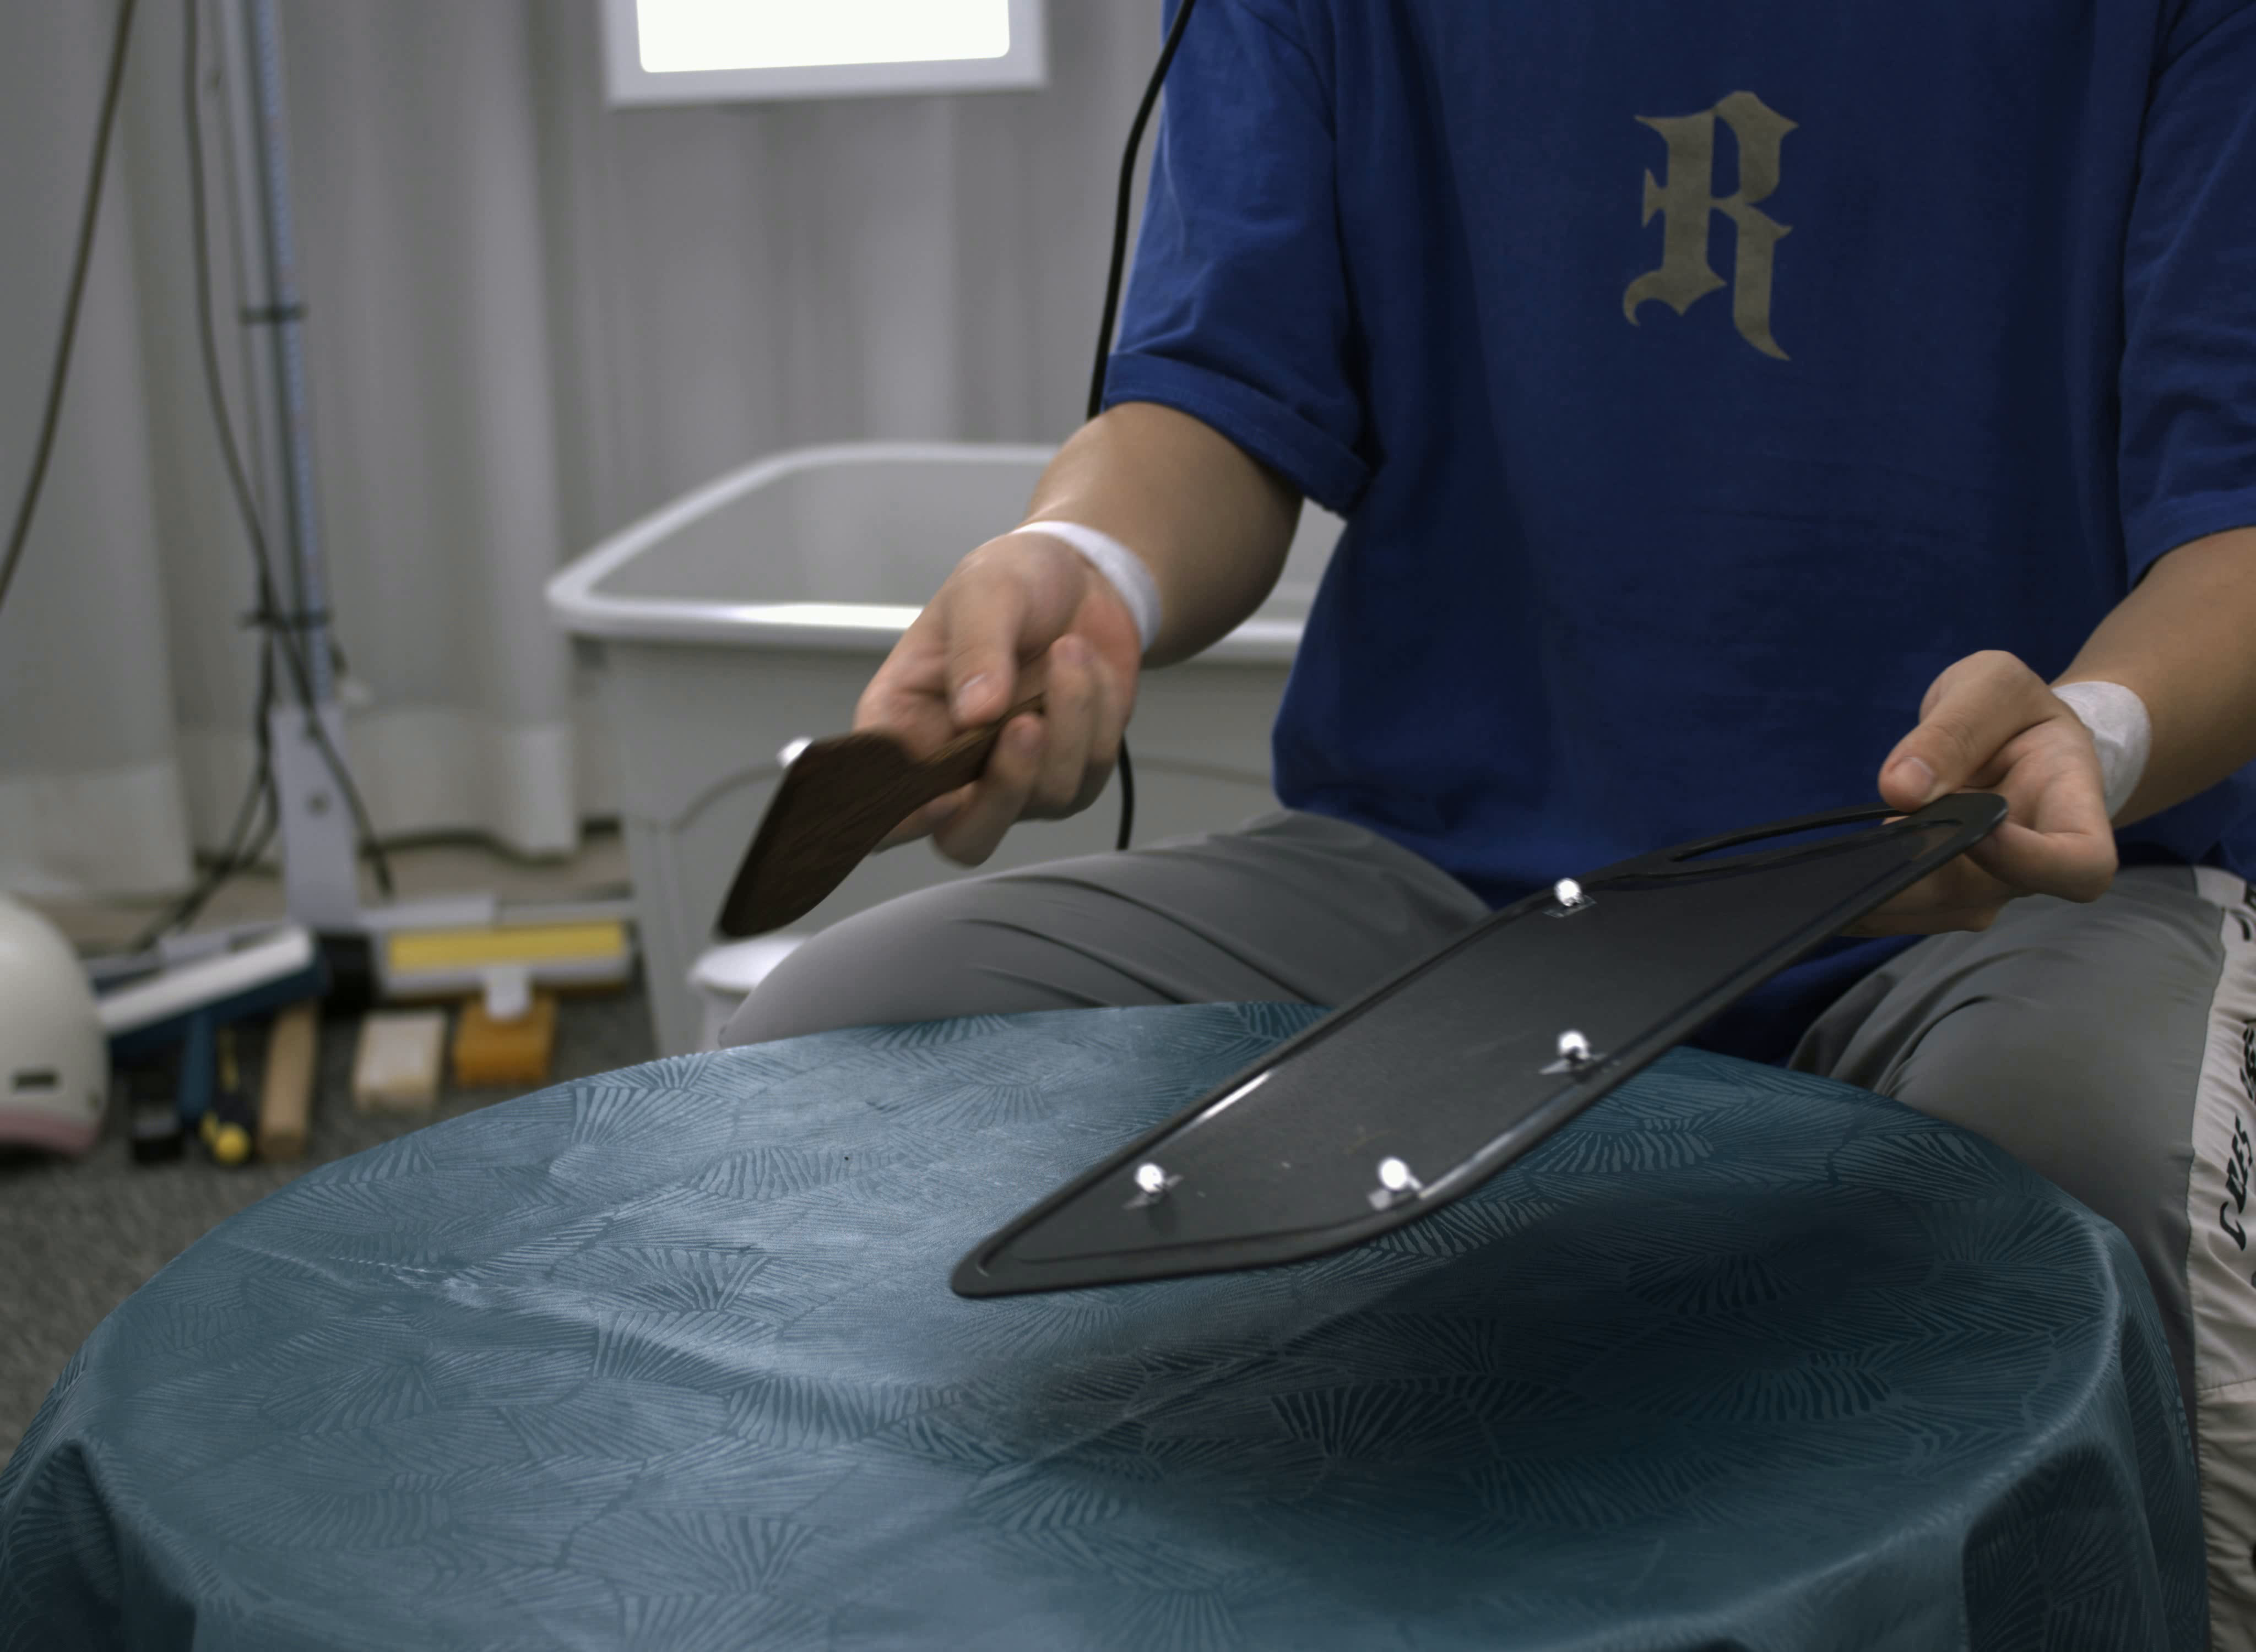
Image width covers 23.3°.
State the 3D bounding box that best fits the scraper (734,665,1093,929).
[{"bbox_3d":[-0.060,-0.020,1.718,0.011,0.075,0.211,32,24,15],"label":"scraper"}]

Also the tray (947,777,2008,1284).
[{"bbox_3d":[0.106,0.053,1.557,0.326,0.010,0.211,-30,11,-39],"label":"tray"}]
